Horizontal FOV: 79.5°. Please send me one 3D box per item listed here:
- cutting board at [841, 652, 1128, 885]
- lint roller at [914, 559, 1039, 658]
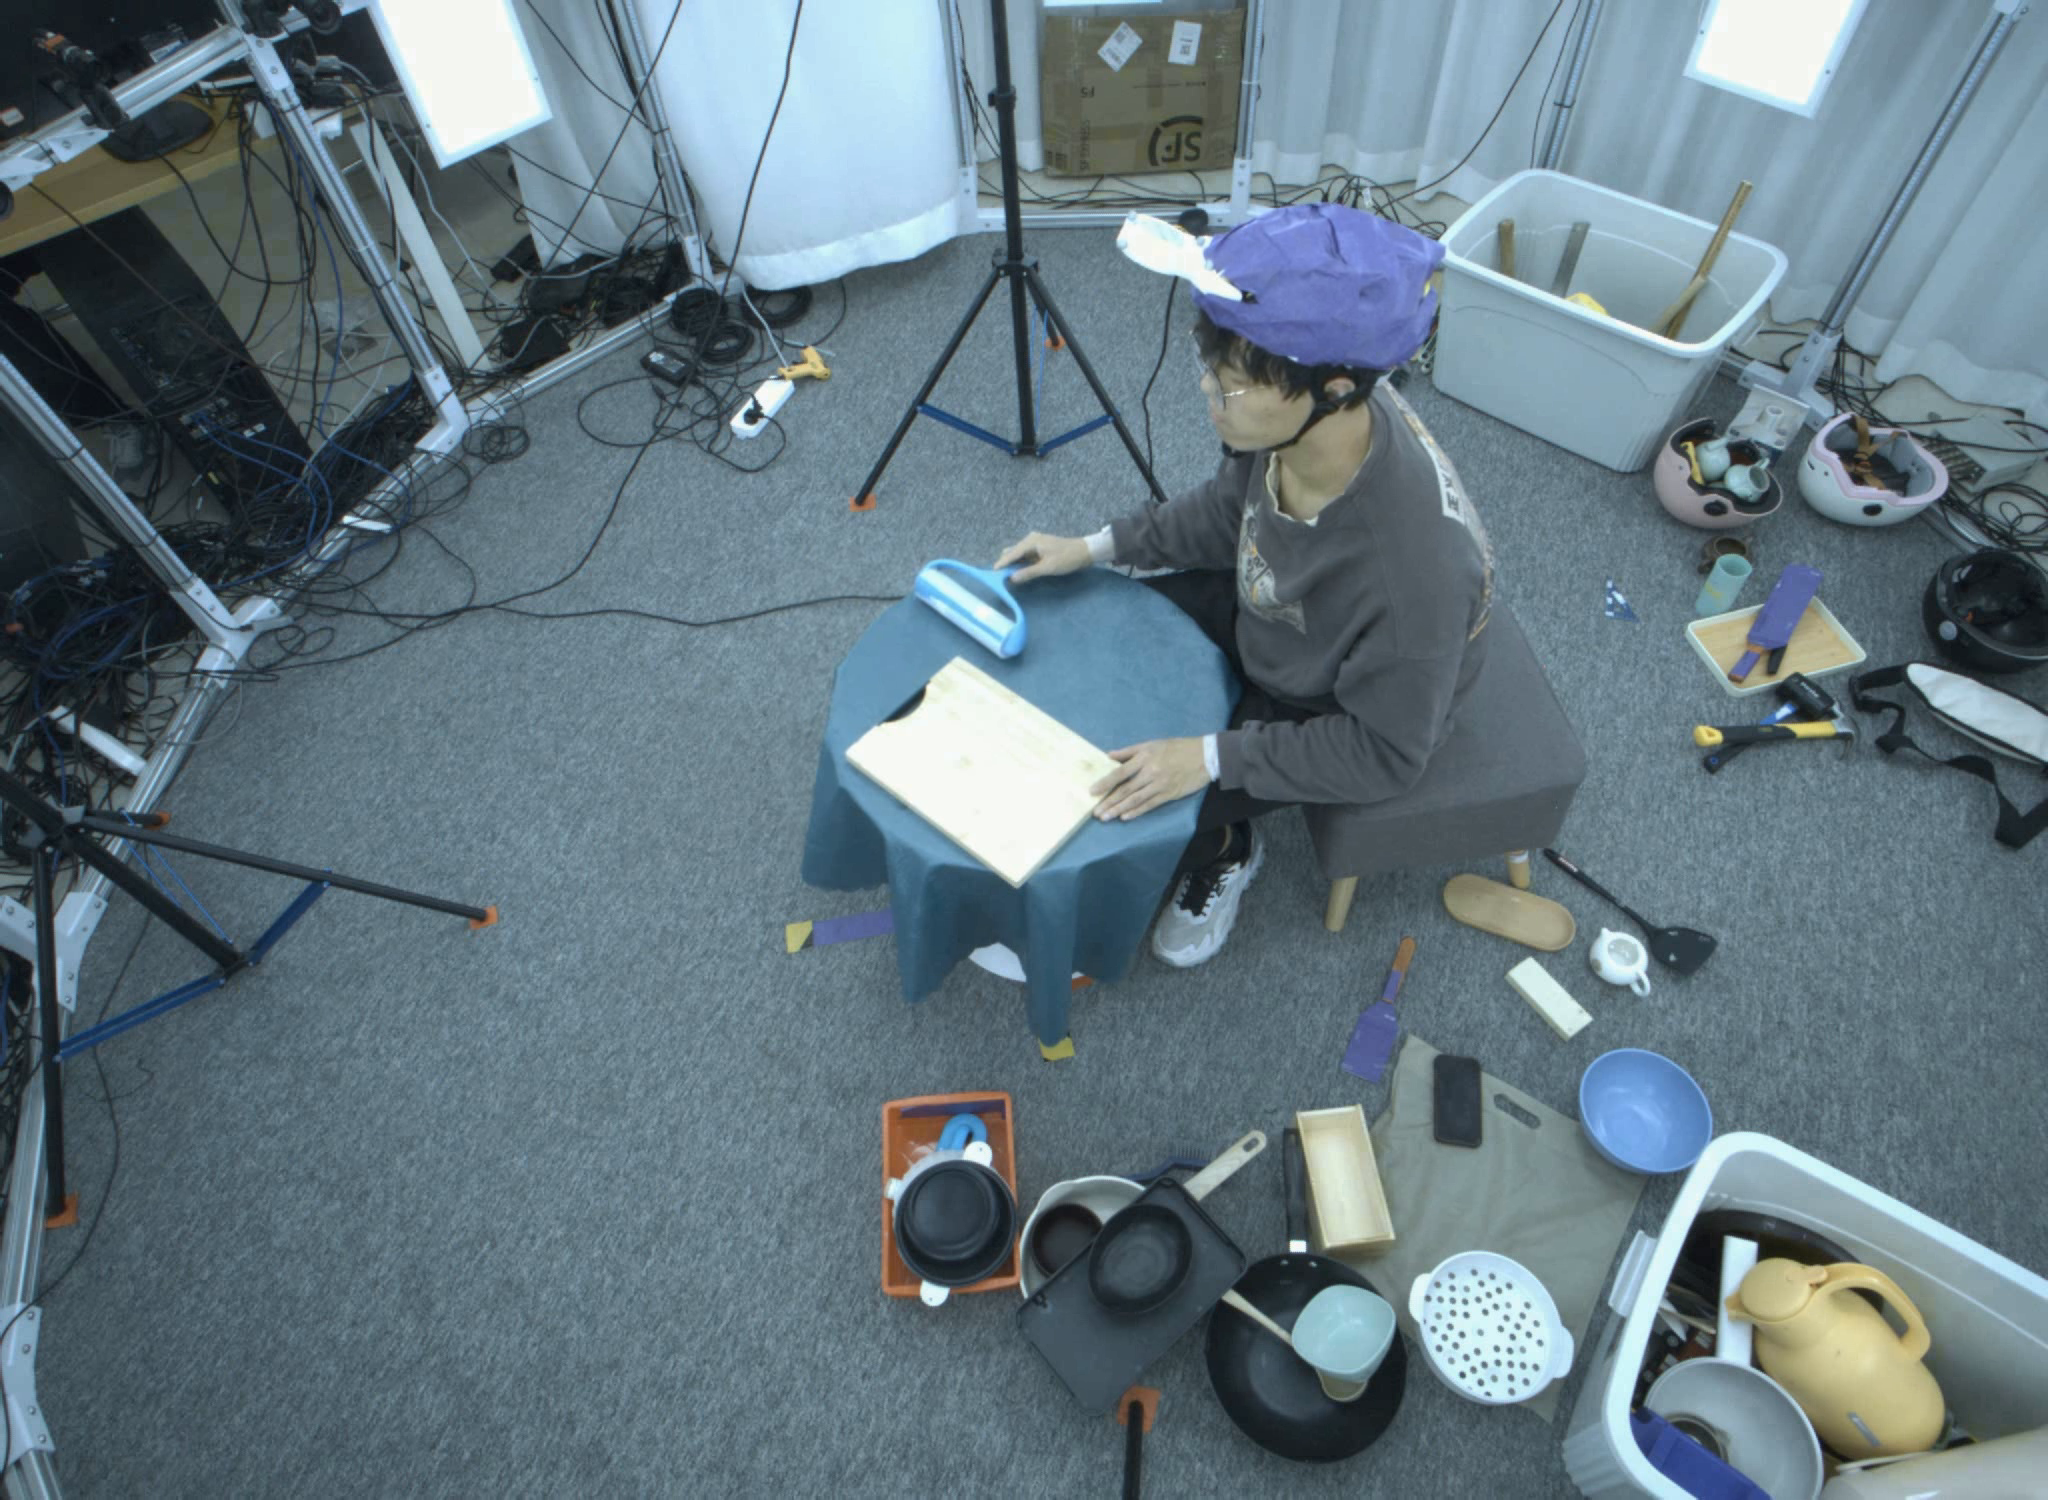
[{"bbox_3d":[-0.059,0.017,1.765,0.342,0.024,0.252,34,62,23],"label":"cutting board"},{"bbox_3d":[-0.049,-0.253,1.931,0.225,0.069,0.181,35,65,25],"label":"lint roller"}]
